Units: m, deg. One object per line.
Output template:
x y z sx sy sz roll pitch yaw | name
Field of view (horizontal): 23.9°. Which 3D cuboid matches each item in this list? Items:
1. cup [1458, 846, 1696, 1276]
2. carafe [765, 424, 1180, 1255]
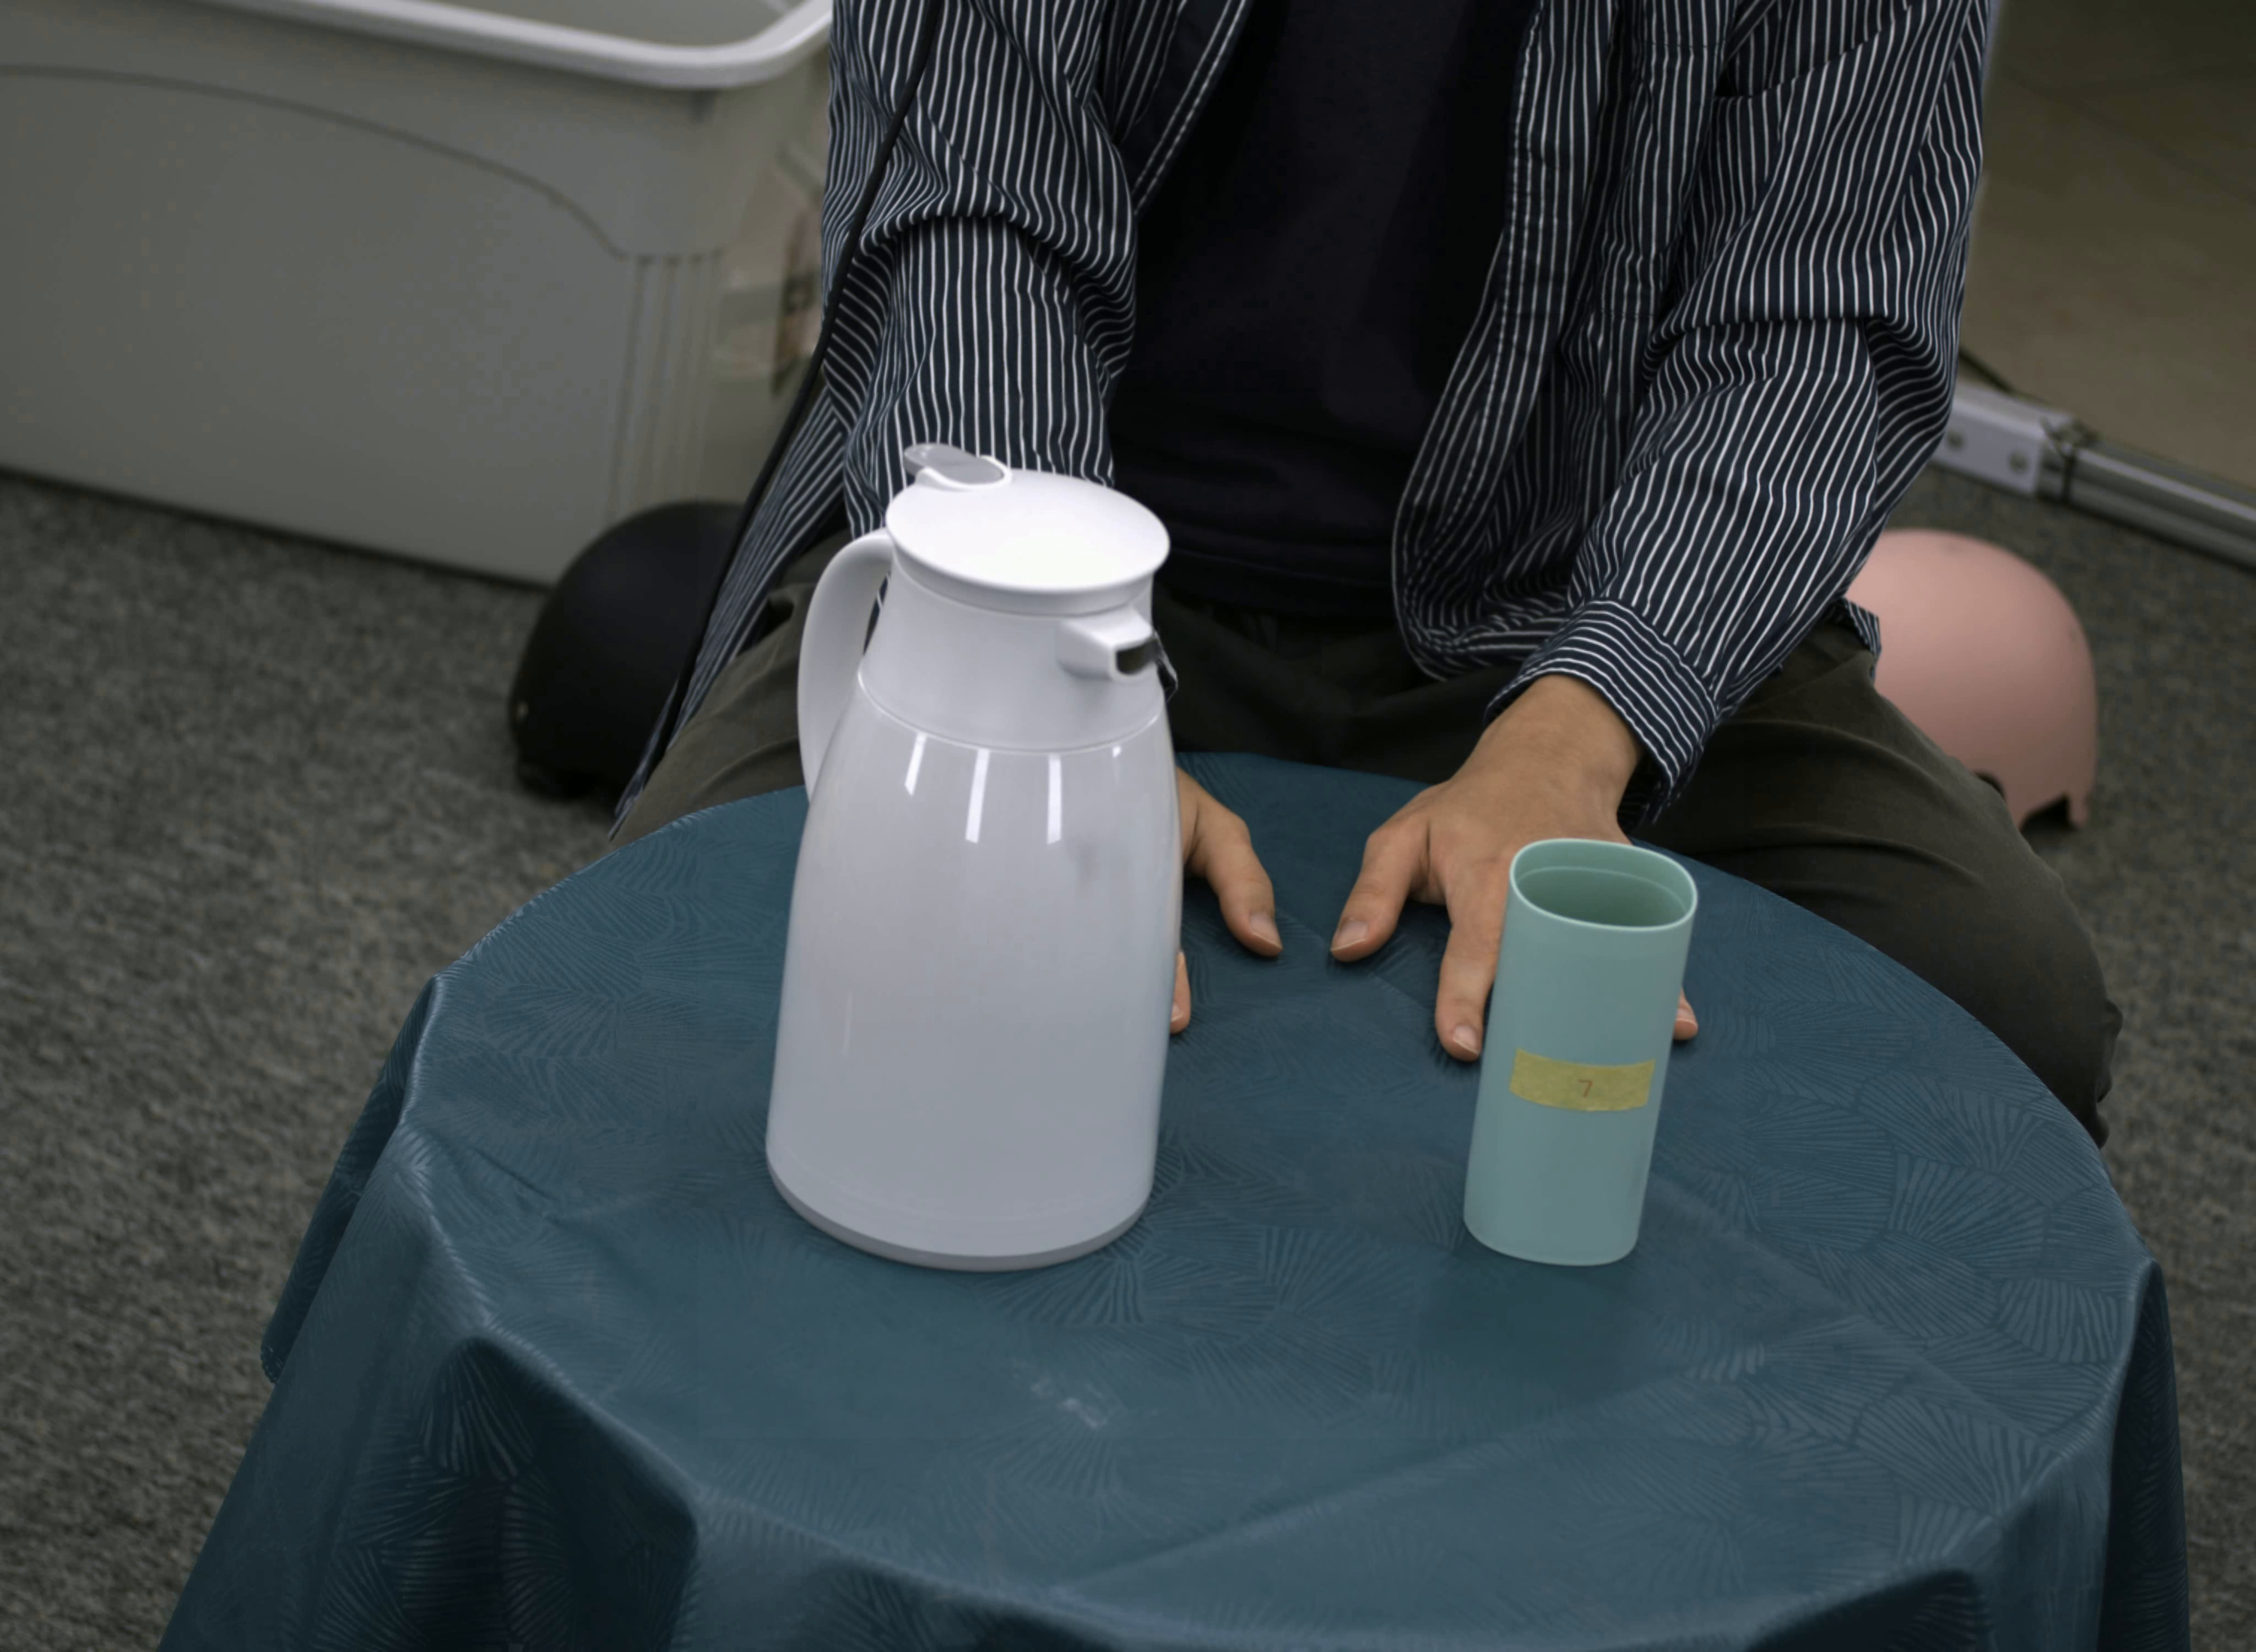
0.149 0.078 1.781 0.066 0.132 0.067 5 28 -3 | cup
-0.058 -0.006 1.758 0.132 0.248 0.169 -16 33 -37 | carafe
